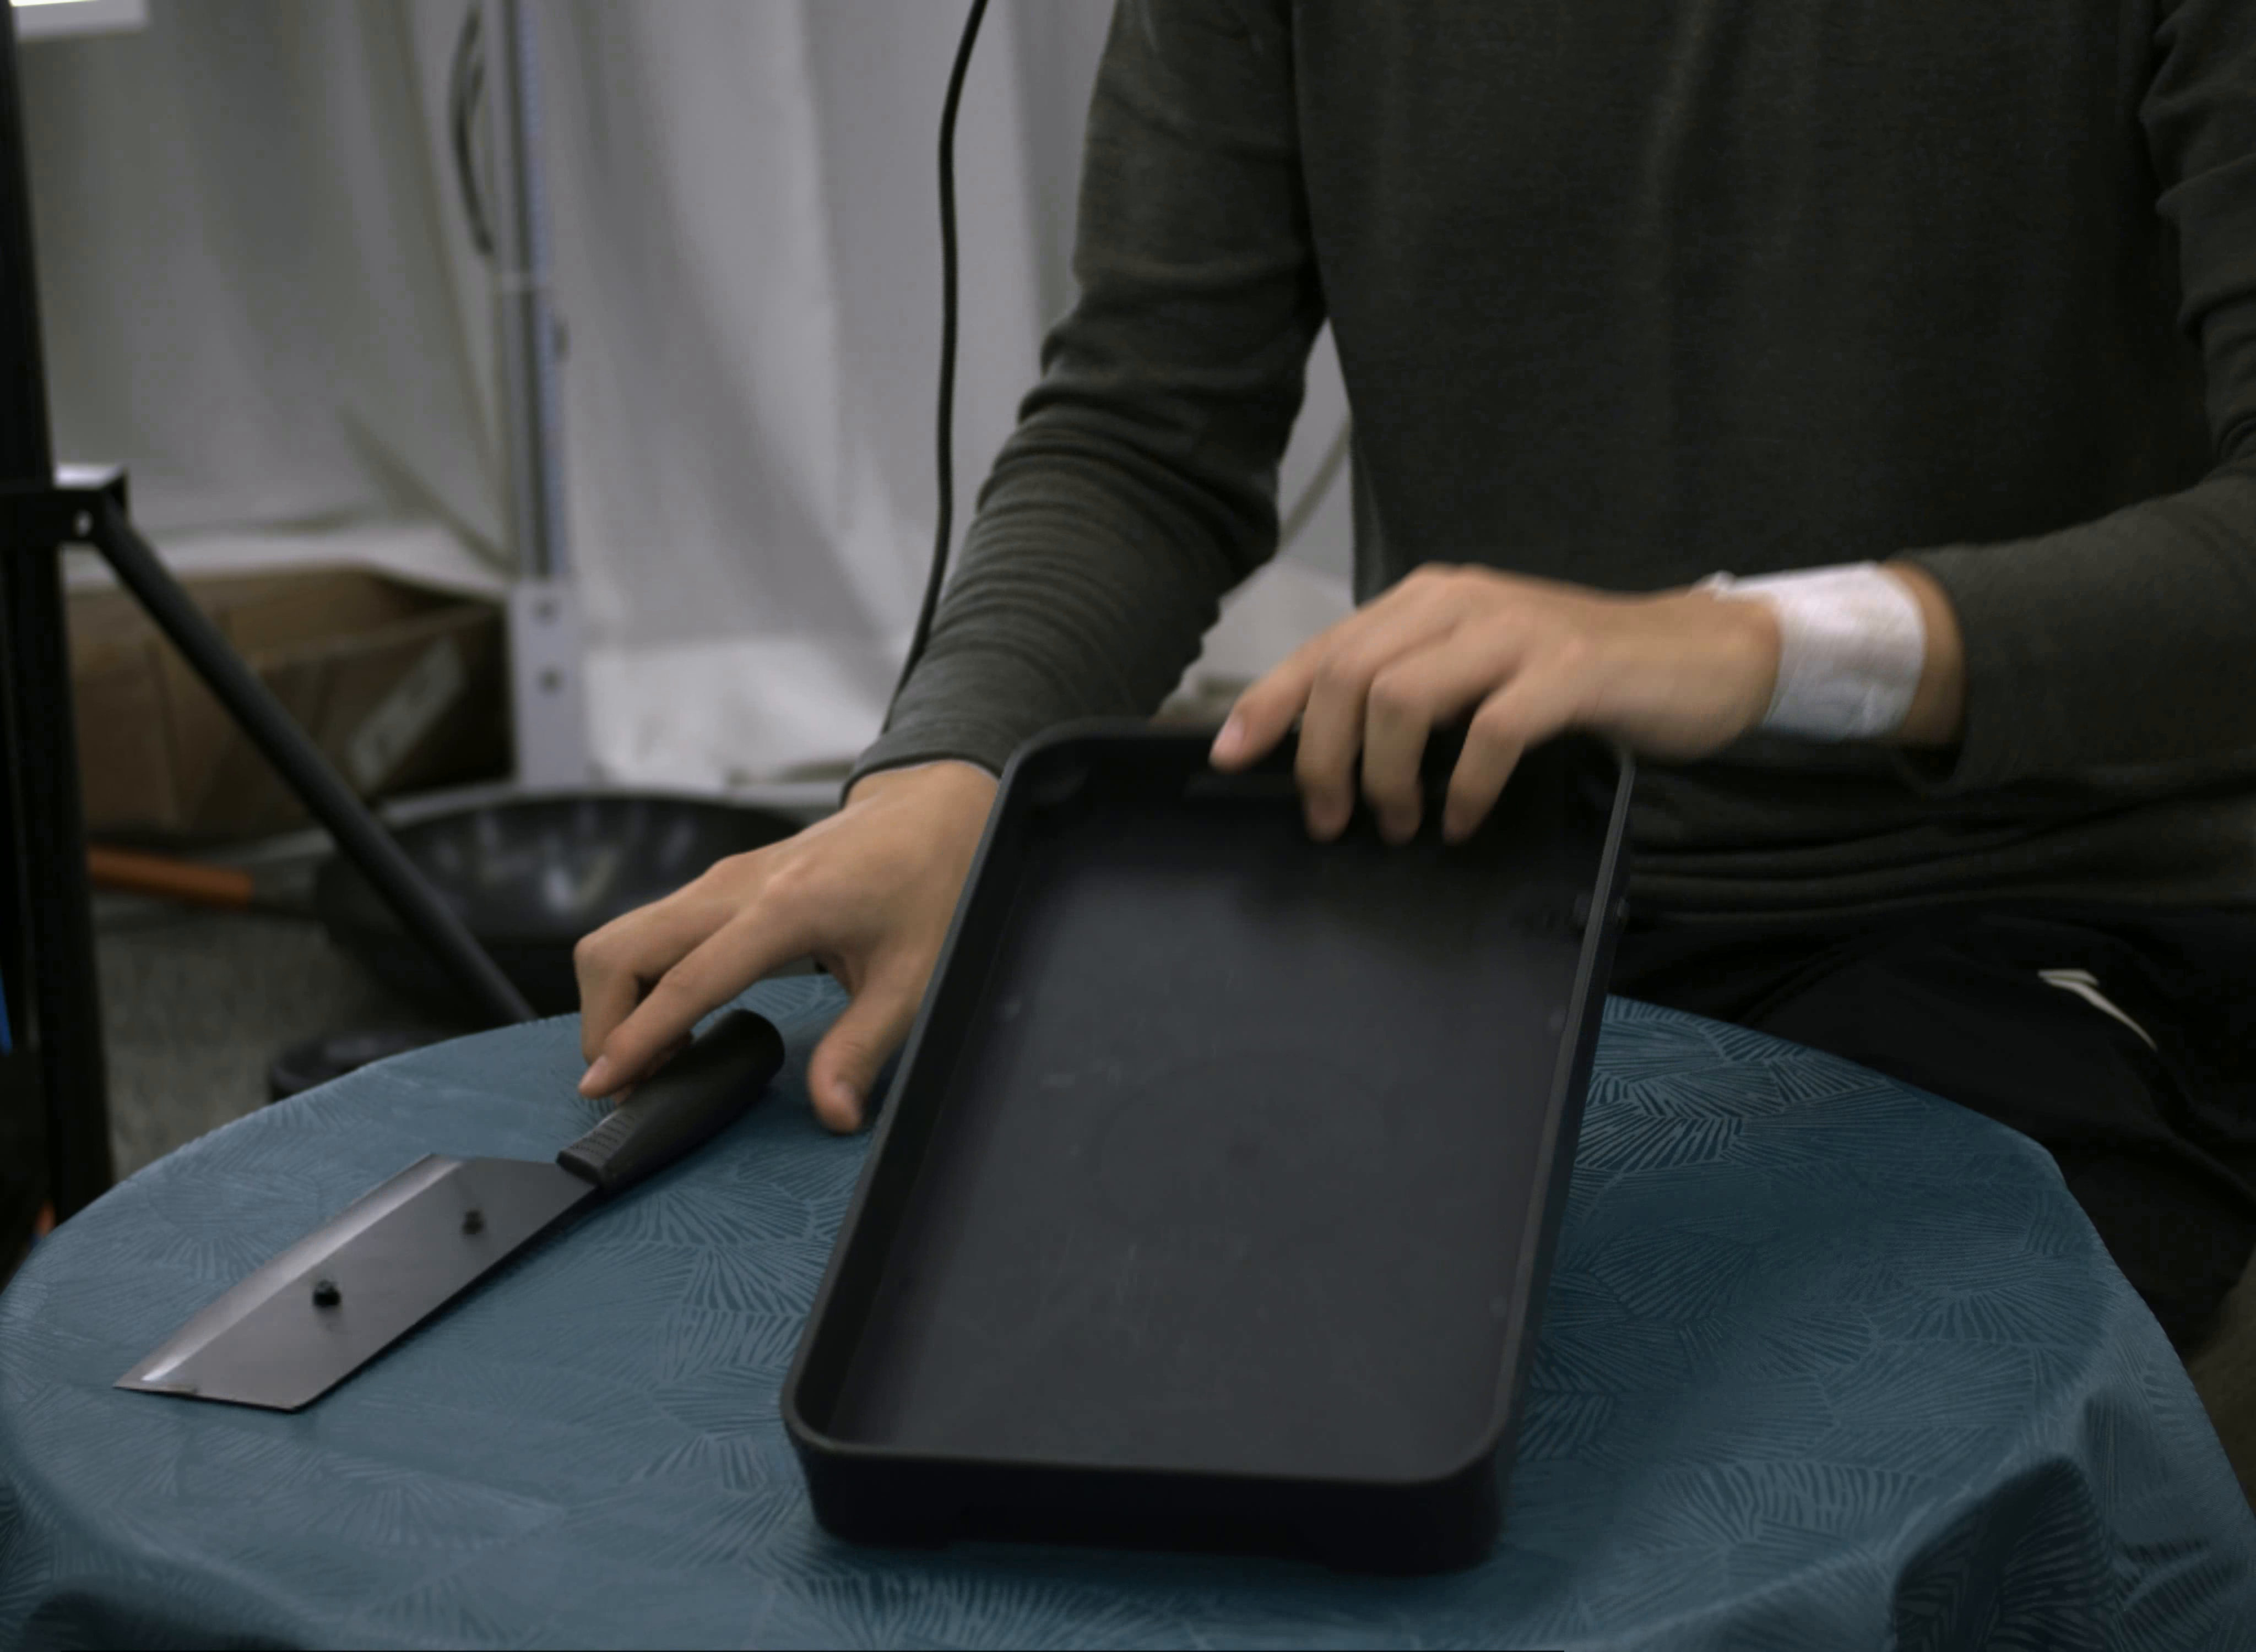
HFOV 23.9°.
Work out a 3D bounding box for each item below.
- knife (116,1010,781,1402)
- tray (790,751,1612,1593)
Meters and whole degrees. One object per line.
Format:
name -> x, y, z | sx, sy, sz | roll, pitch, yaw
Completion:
knife -> -0.188, 0.109, 1.561 | 0.082, 0.021, 0.297 | 7, 20, 27
tray -> 0.028, 0.083, 1.409 | 0.185, 0.037, 0.319 | -1, 34, 11
